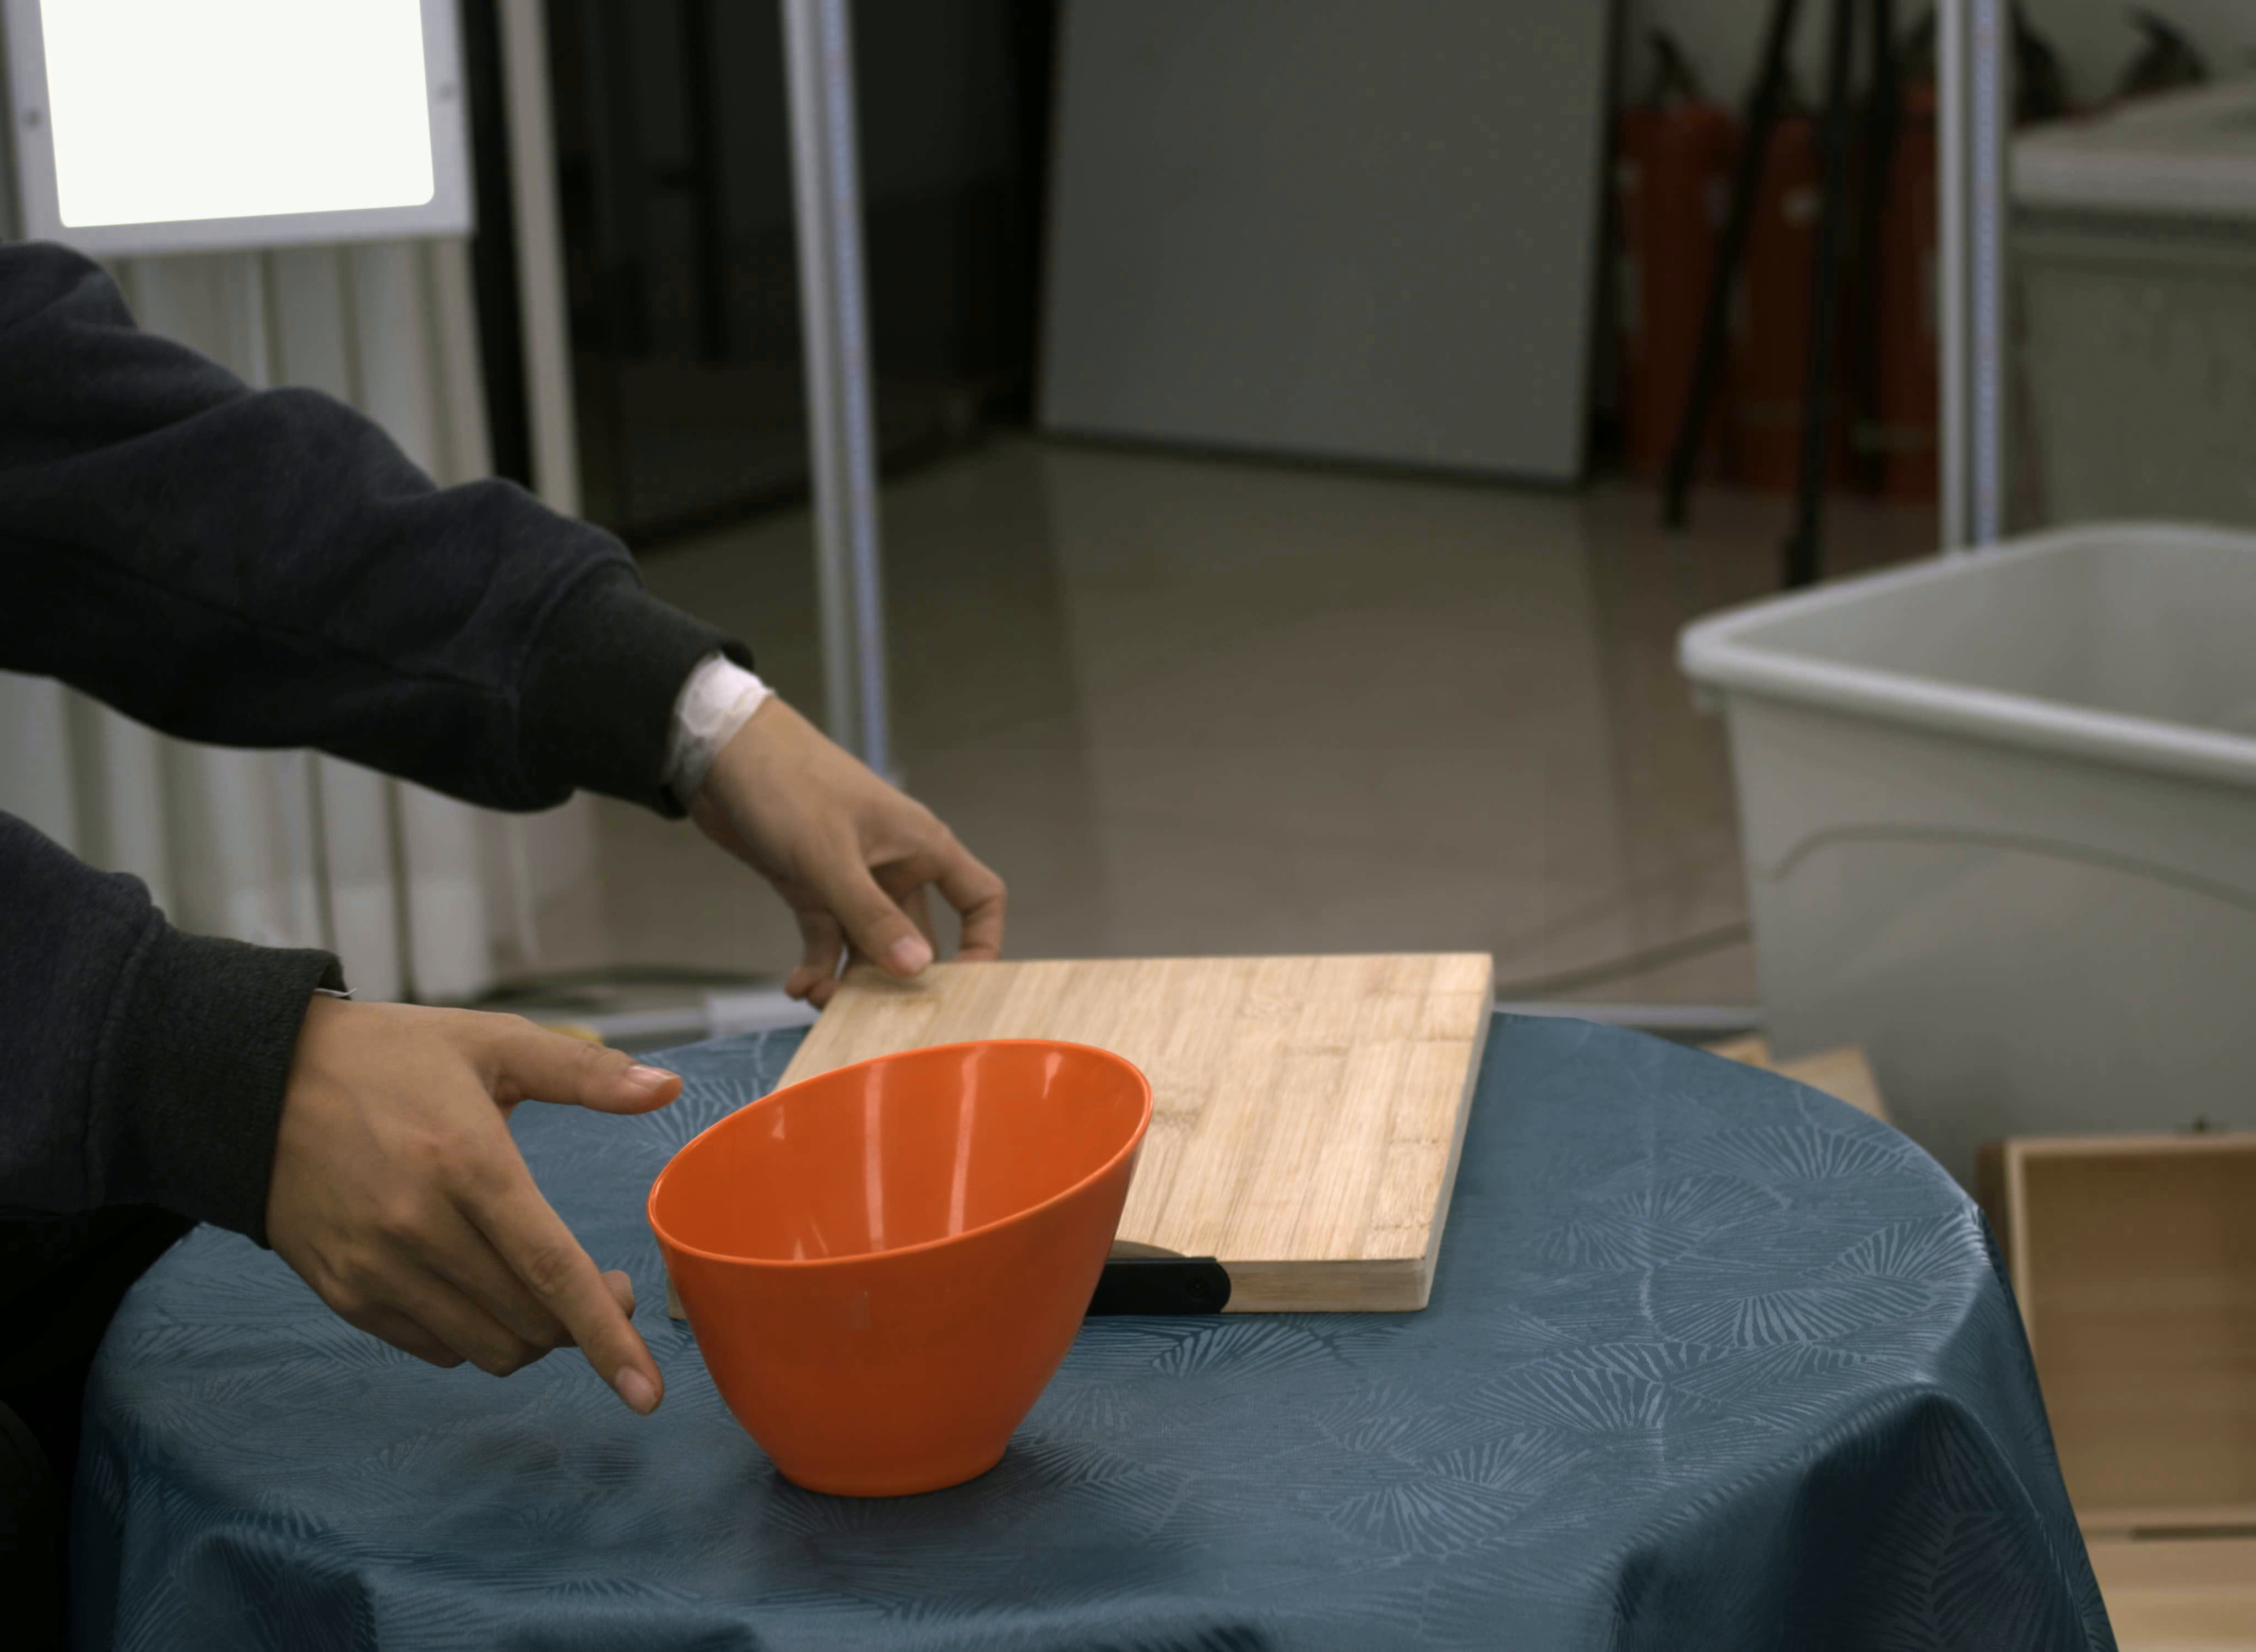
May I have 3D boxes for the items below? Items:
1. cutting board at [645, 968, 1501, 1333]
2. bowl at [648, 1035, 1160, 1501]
[{"bbox_3d":[-0.006,0.104,1.808,0.248,0.024,0.347,-3,13,8],"label":"cutting board"},{"bbox_3d":[-0.061,0.129,1.536,0.146,0.106,0.148,-2,15,0],"label":"bowl"}]
